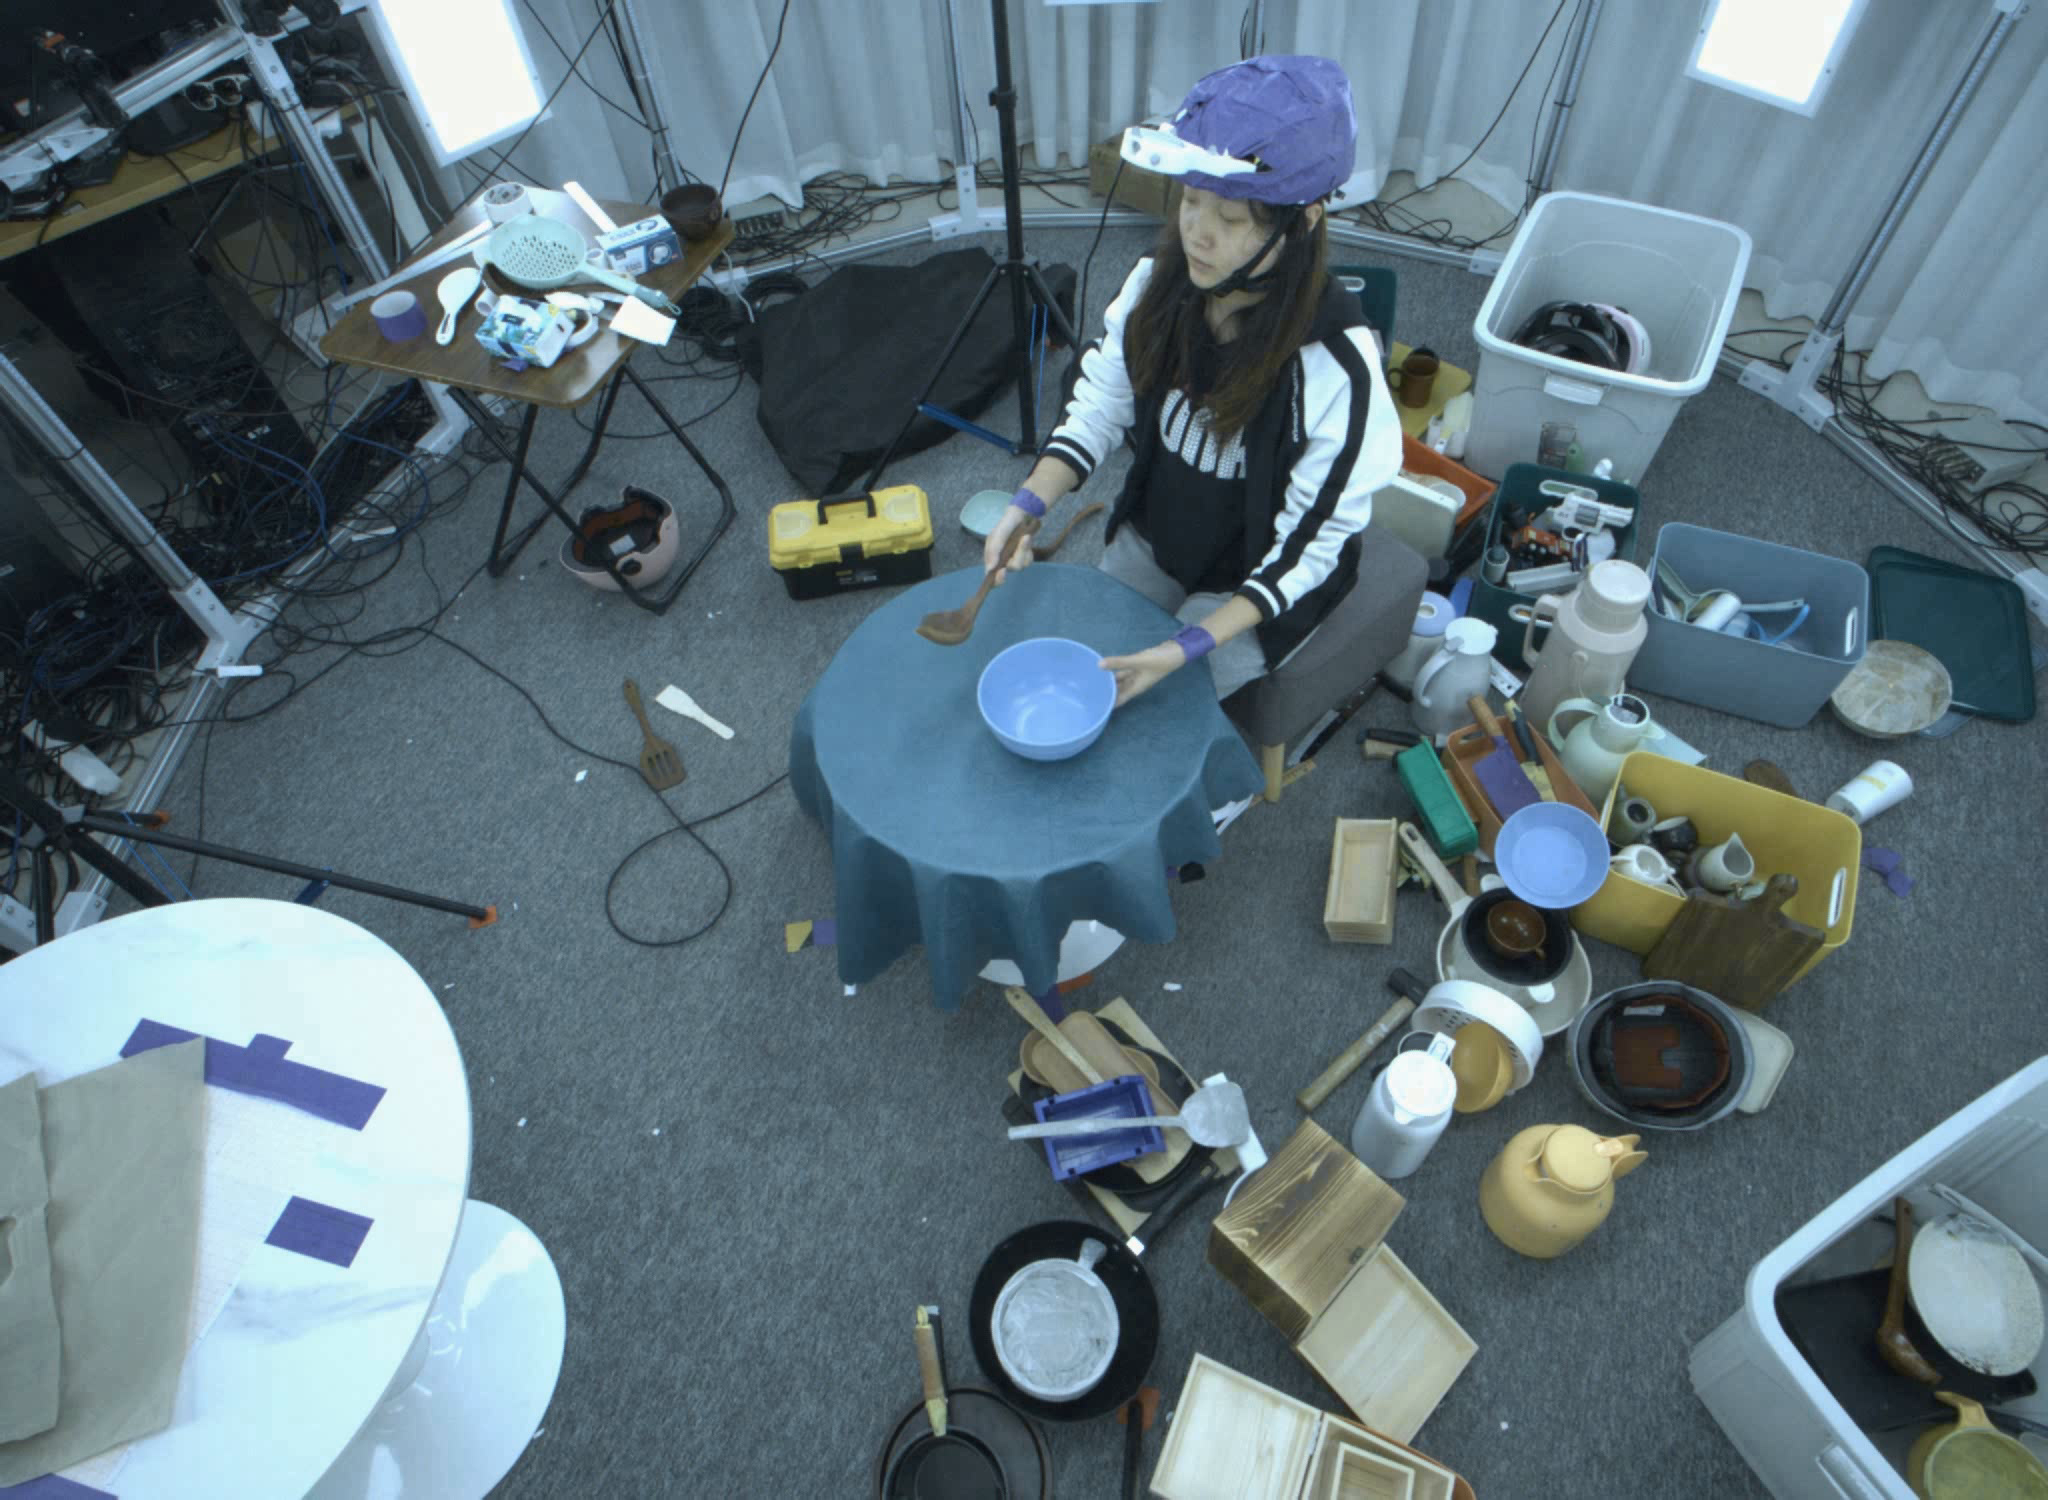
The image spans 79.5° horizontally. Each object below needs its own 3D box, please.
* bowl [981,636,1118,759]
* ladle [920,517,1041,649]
[{"bbox_3d":[0.042,-0.060,1.772,0.195,0.097,0.194,-4,53,7],"label":"bowl"},{"bbox_3d":[-0.058,-0.251,1.778,0.075,0.066,0.260,29,76,23],"label":"ladle"}]
